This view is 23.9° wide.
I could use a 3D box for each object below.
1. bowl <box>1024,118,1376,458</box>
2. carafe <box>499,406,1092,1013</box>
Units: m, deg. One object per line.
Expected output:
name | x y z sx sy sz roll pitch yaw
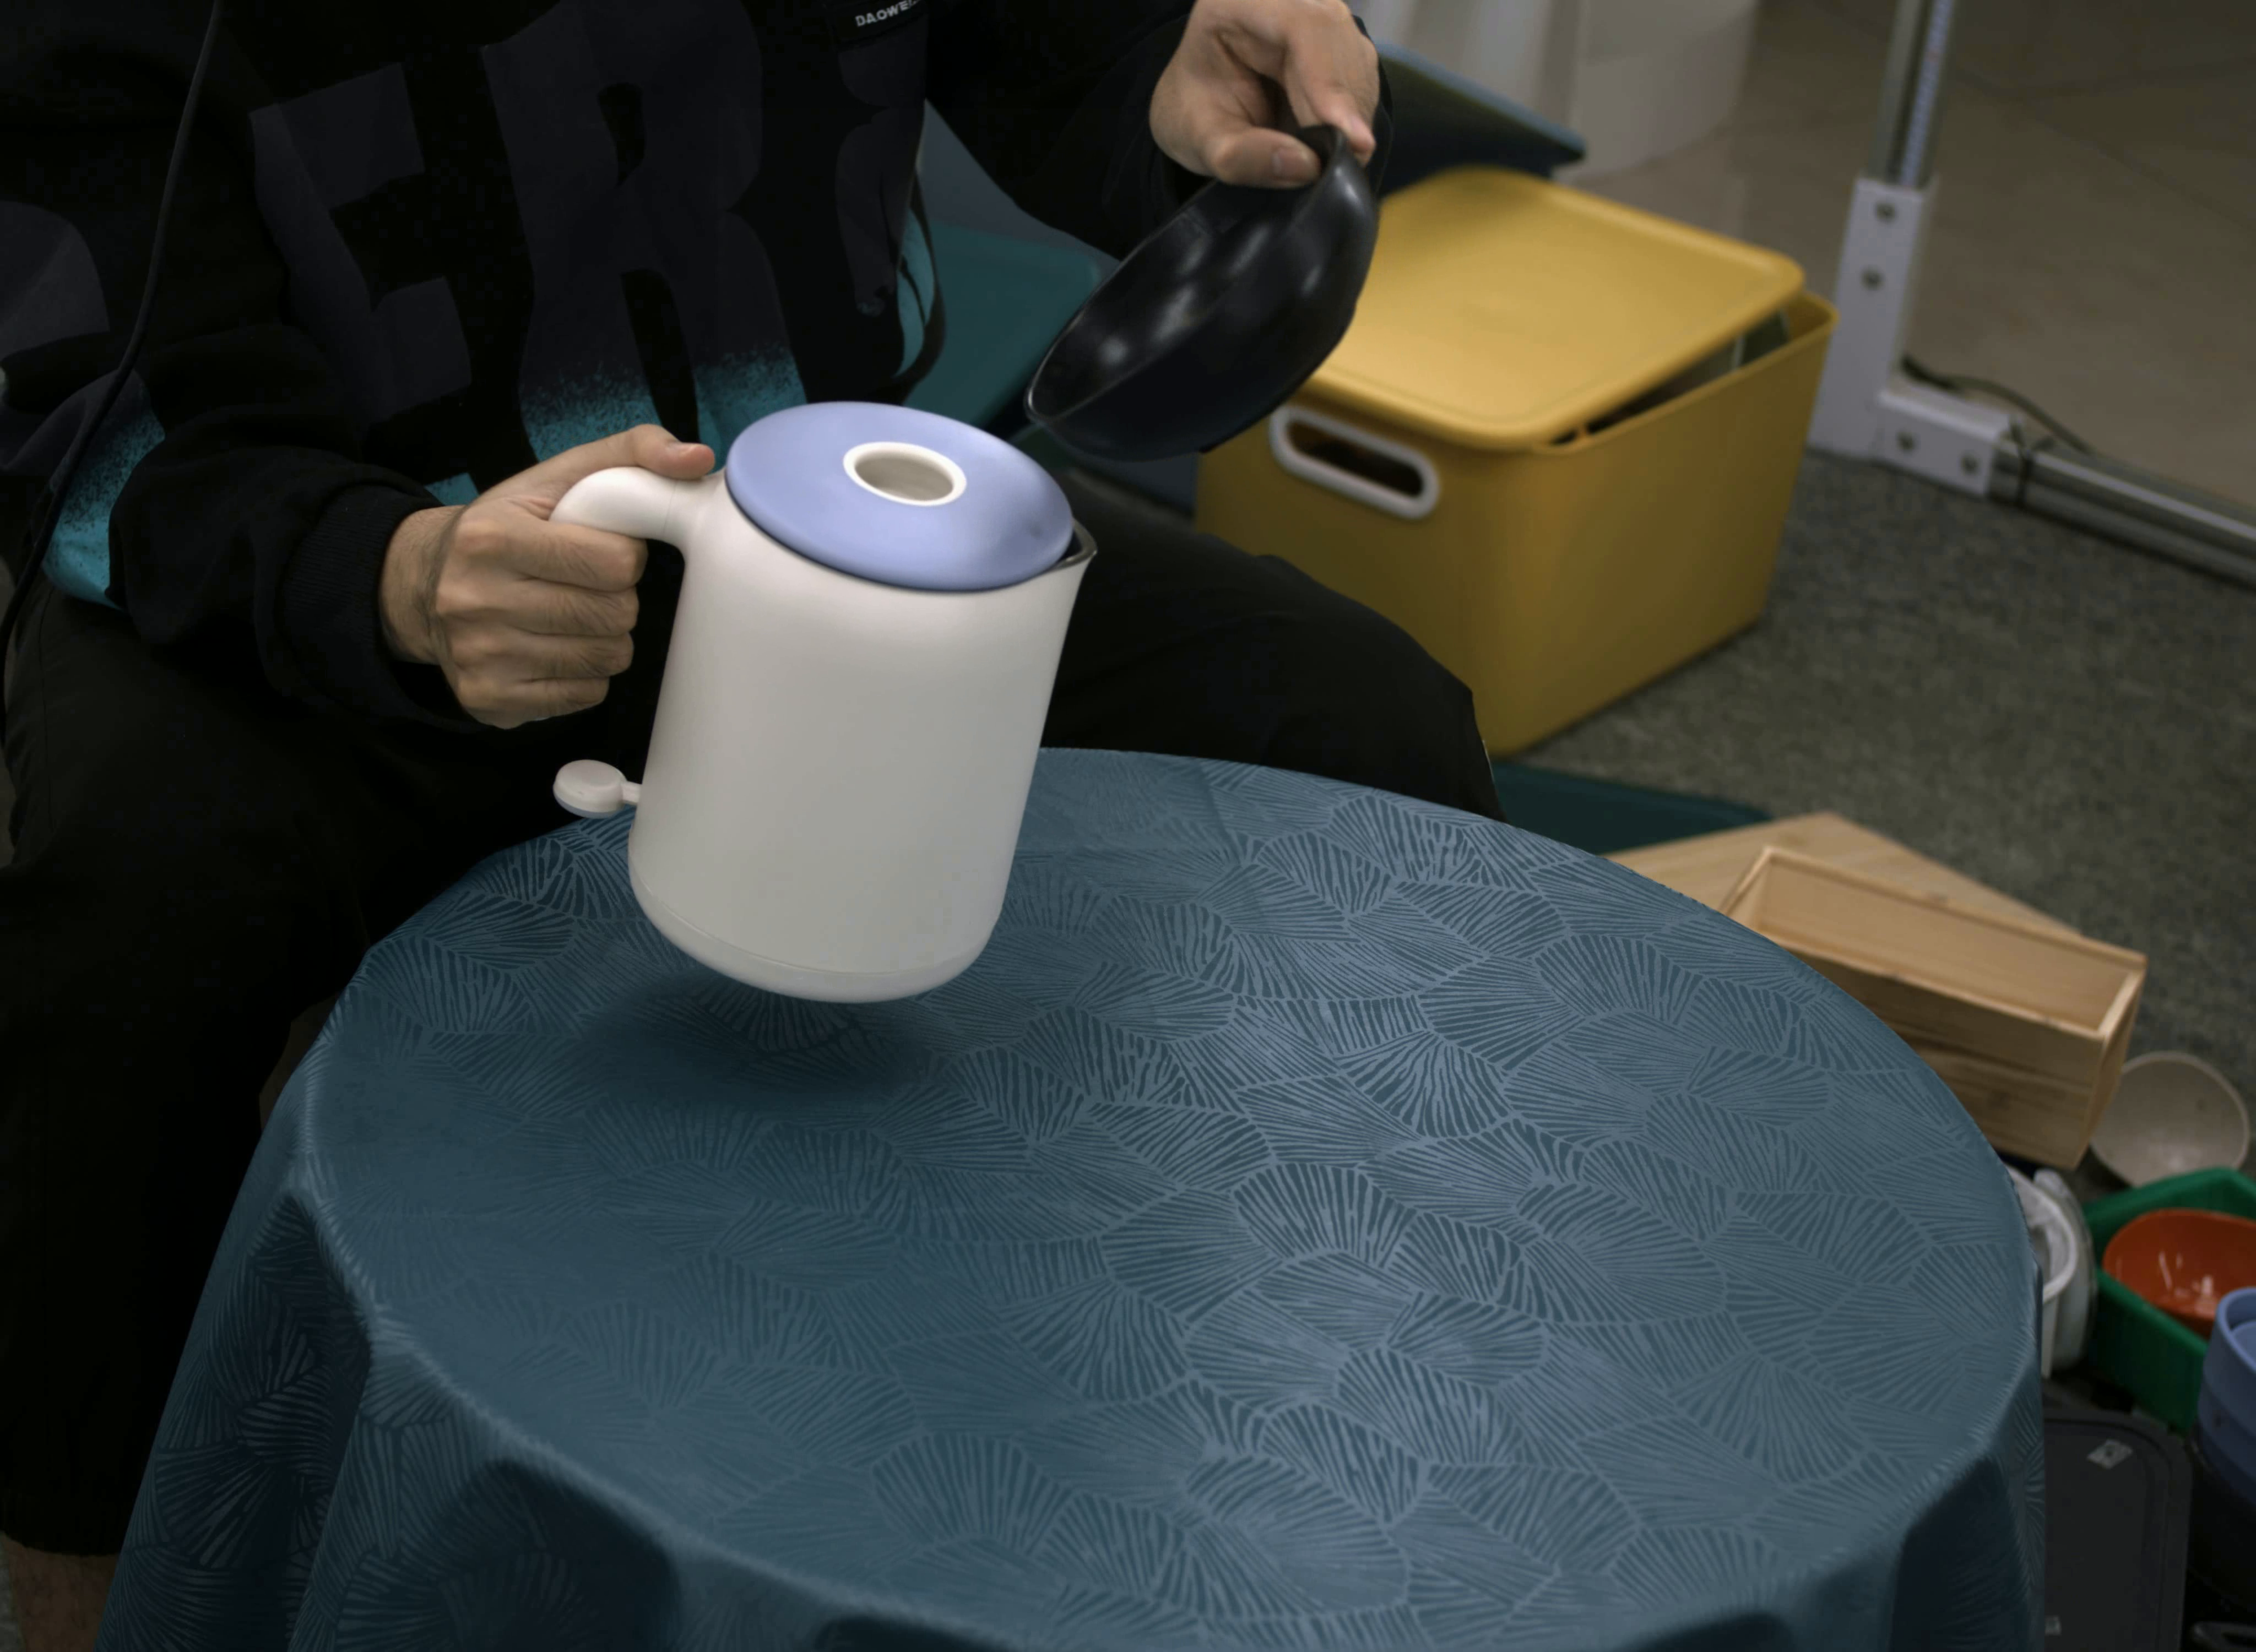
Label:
bowl | 0.033 -0.166 1.739 0.049 0.140 0.140 46 22 -16
carafe | -0.117 -0.044 1.809 0.190 0.182 0.133 8 27 -1
